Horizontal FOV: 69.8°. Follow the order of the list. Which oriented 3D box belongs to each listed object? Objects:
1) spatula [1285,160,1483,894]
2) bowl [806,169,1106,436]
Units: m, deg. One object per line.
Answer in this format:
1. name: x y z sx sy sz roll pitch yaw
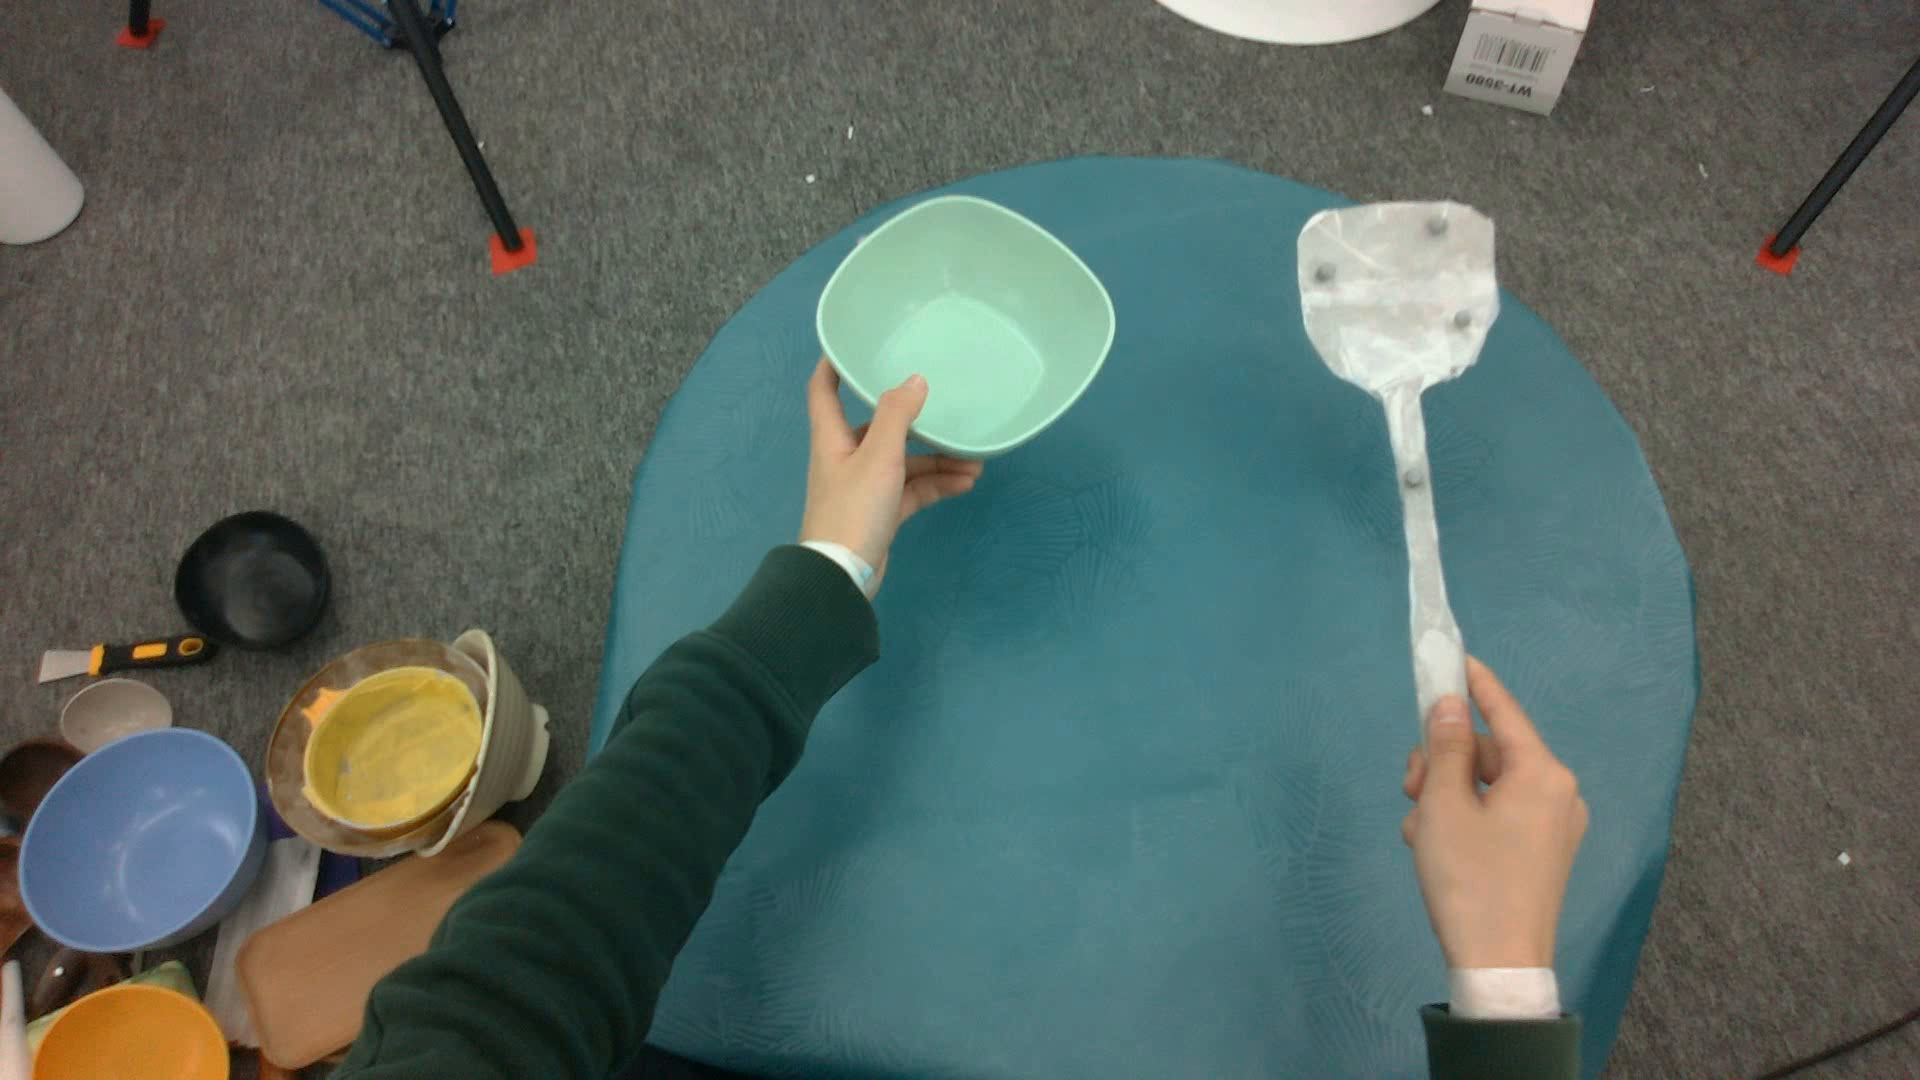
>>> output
1. spatula: 0.205 -0.024 0.636 0.098 0.044 0.366 0 61 8
2. bowl: -0.004 -0.113 0.711 0.151 0.058 0.152 2 67 -6
